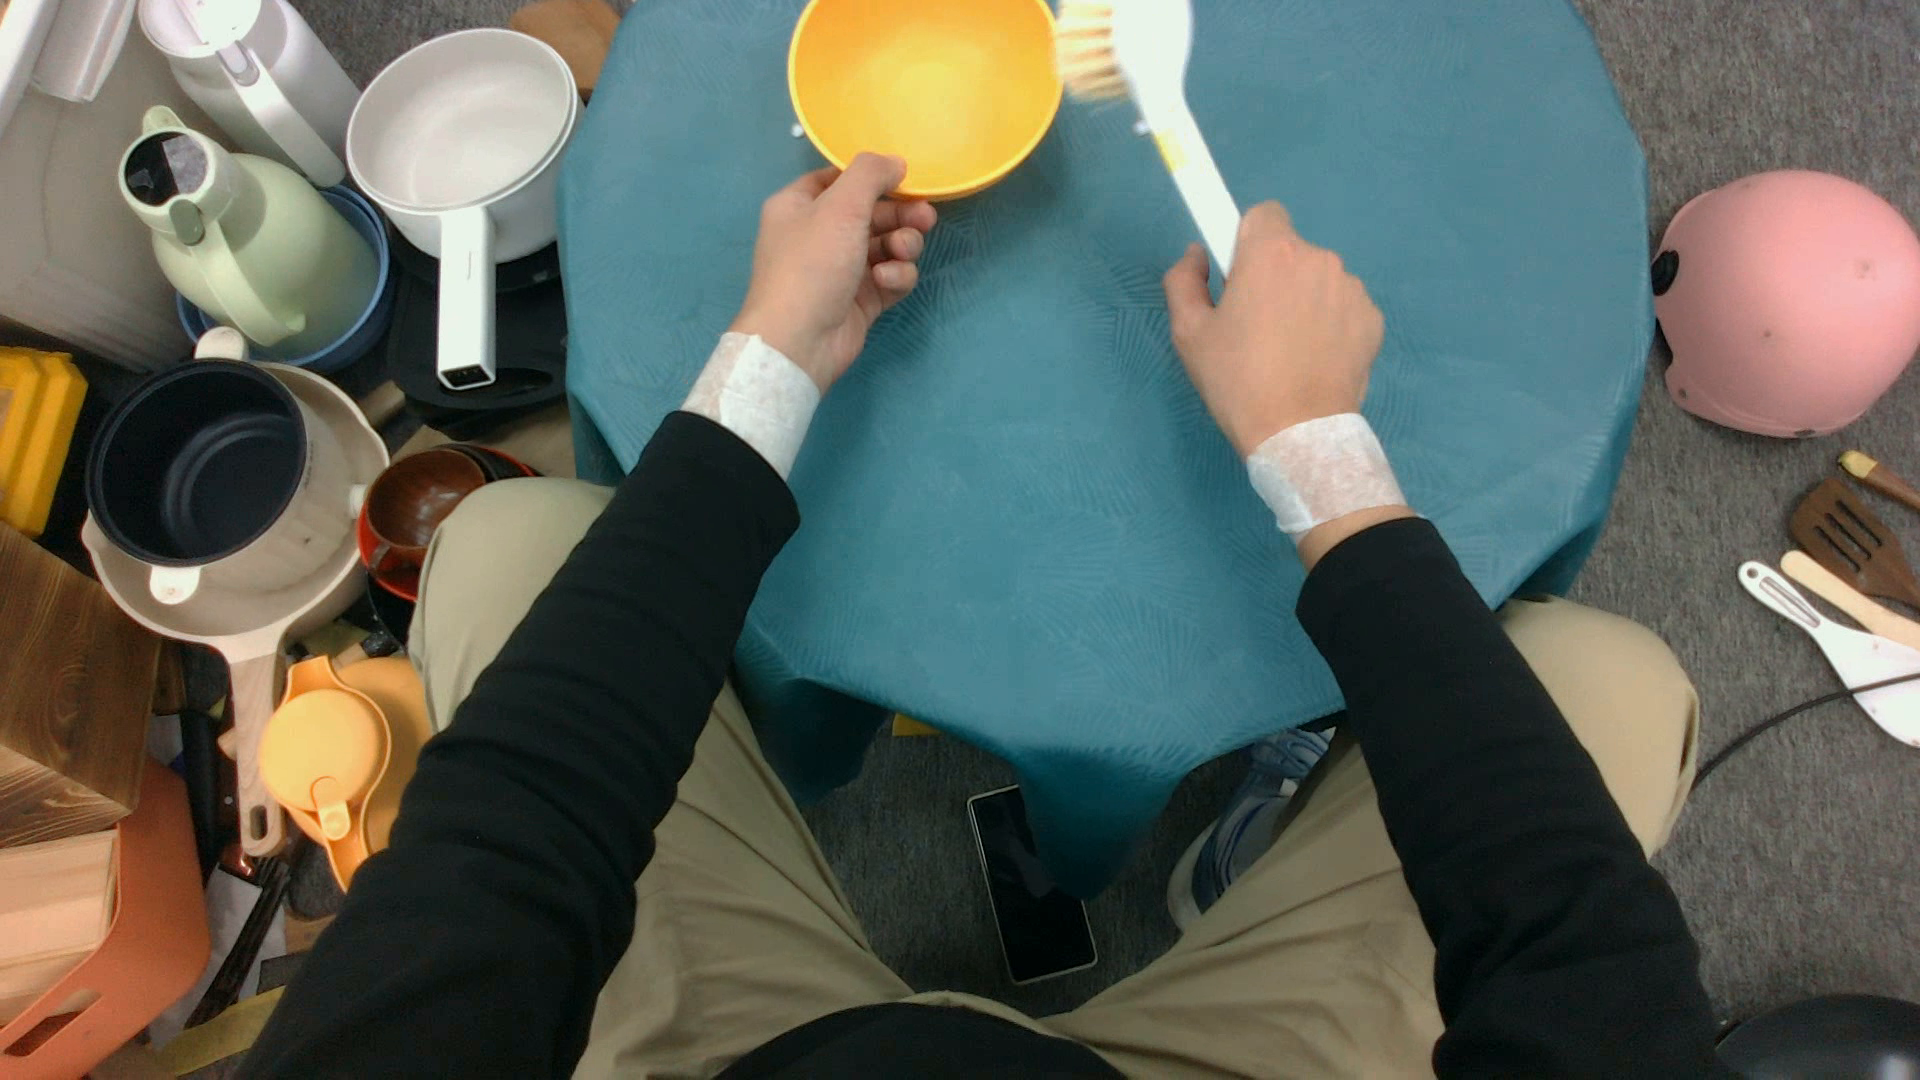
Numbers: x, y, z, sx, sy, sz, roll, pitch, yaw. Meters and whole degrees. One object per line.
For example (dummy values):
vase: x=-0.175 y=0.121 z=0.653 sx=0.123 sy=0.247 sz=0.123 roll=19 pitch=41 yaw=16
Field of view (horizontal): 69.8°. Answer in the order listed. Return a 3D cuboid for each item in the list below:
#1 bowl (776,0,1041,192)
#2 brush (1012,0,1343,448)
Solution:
bowl: x=-0.024 y=-0.248 z=0.750 sx=0.145 sy=0.060 sz=0.145 roll=0 pitch=80 yaw=2
brush: x=0.108 y=-0.156 z=0.677 sx=0.069 sy=0.056 sz=0.266 roll=-40 pitch=107 yaw=-35
